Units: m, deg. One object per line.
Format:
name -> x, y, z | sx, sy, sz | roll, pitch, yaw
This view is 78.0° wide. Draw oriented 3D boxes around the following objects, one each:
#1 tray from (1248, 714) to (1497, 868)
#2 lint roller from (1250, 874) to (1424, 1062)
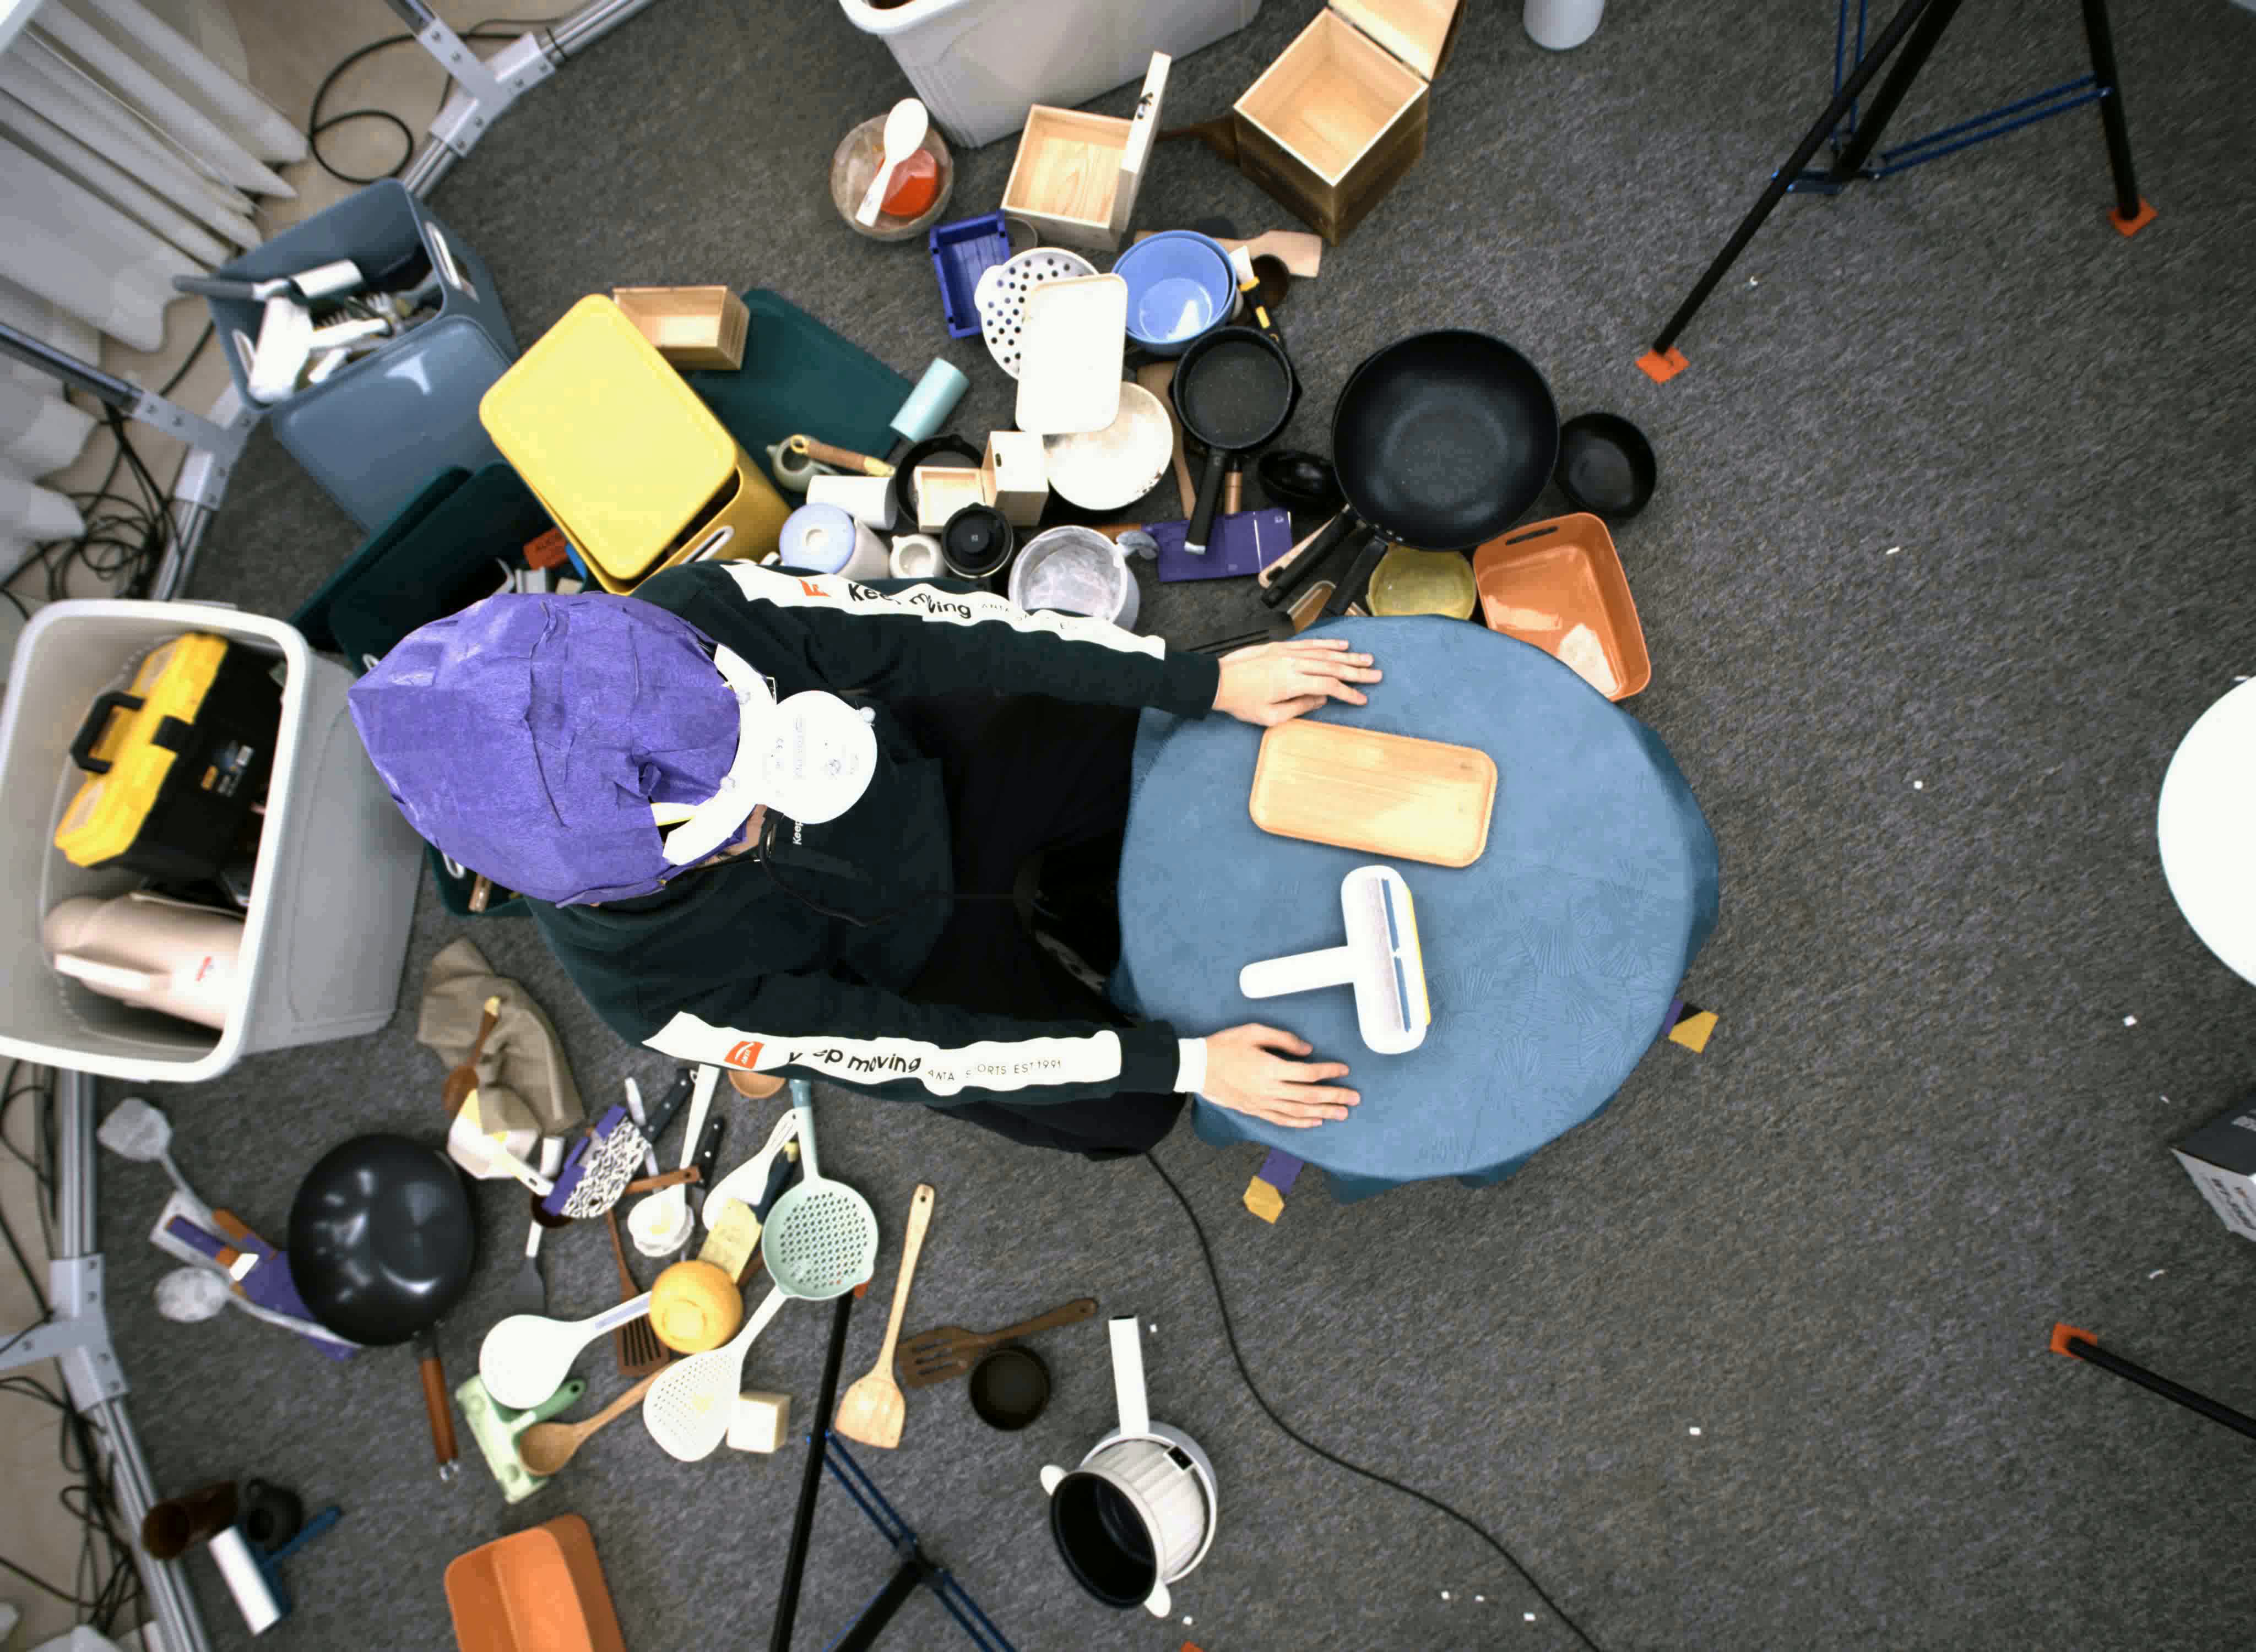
tray -> 0.257, -0.038, 1.455 | 0.251, 0.023, 0.130 | 12, 87, 11
lint roller -> 0.213, 0.151, 1.446 | 0.194, 0.074, 0.191 | -6, 78, 25
